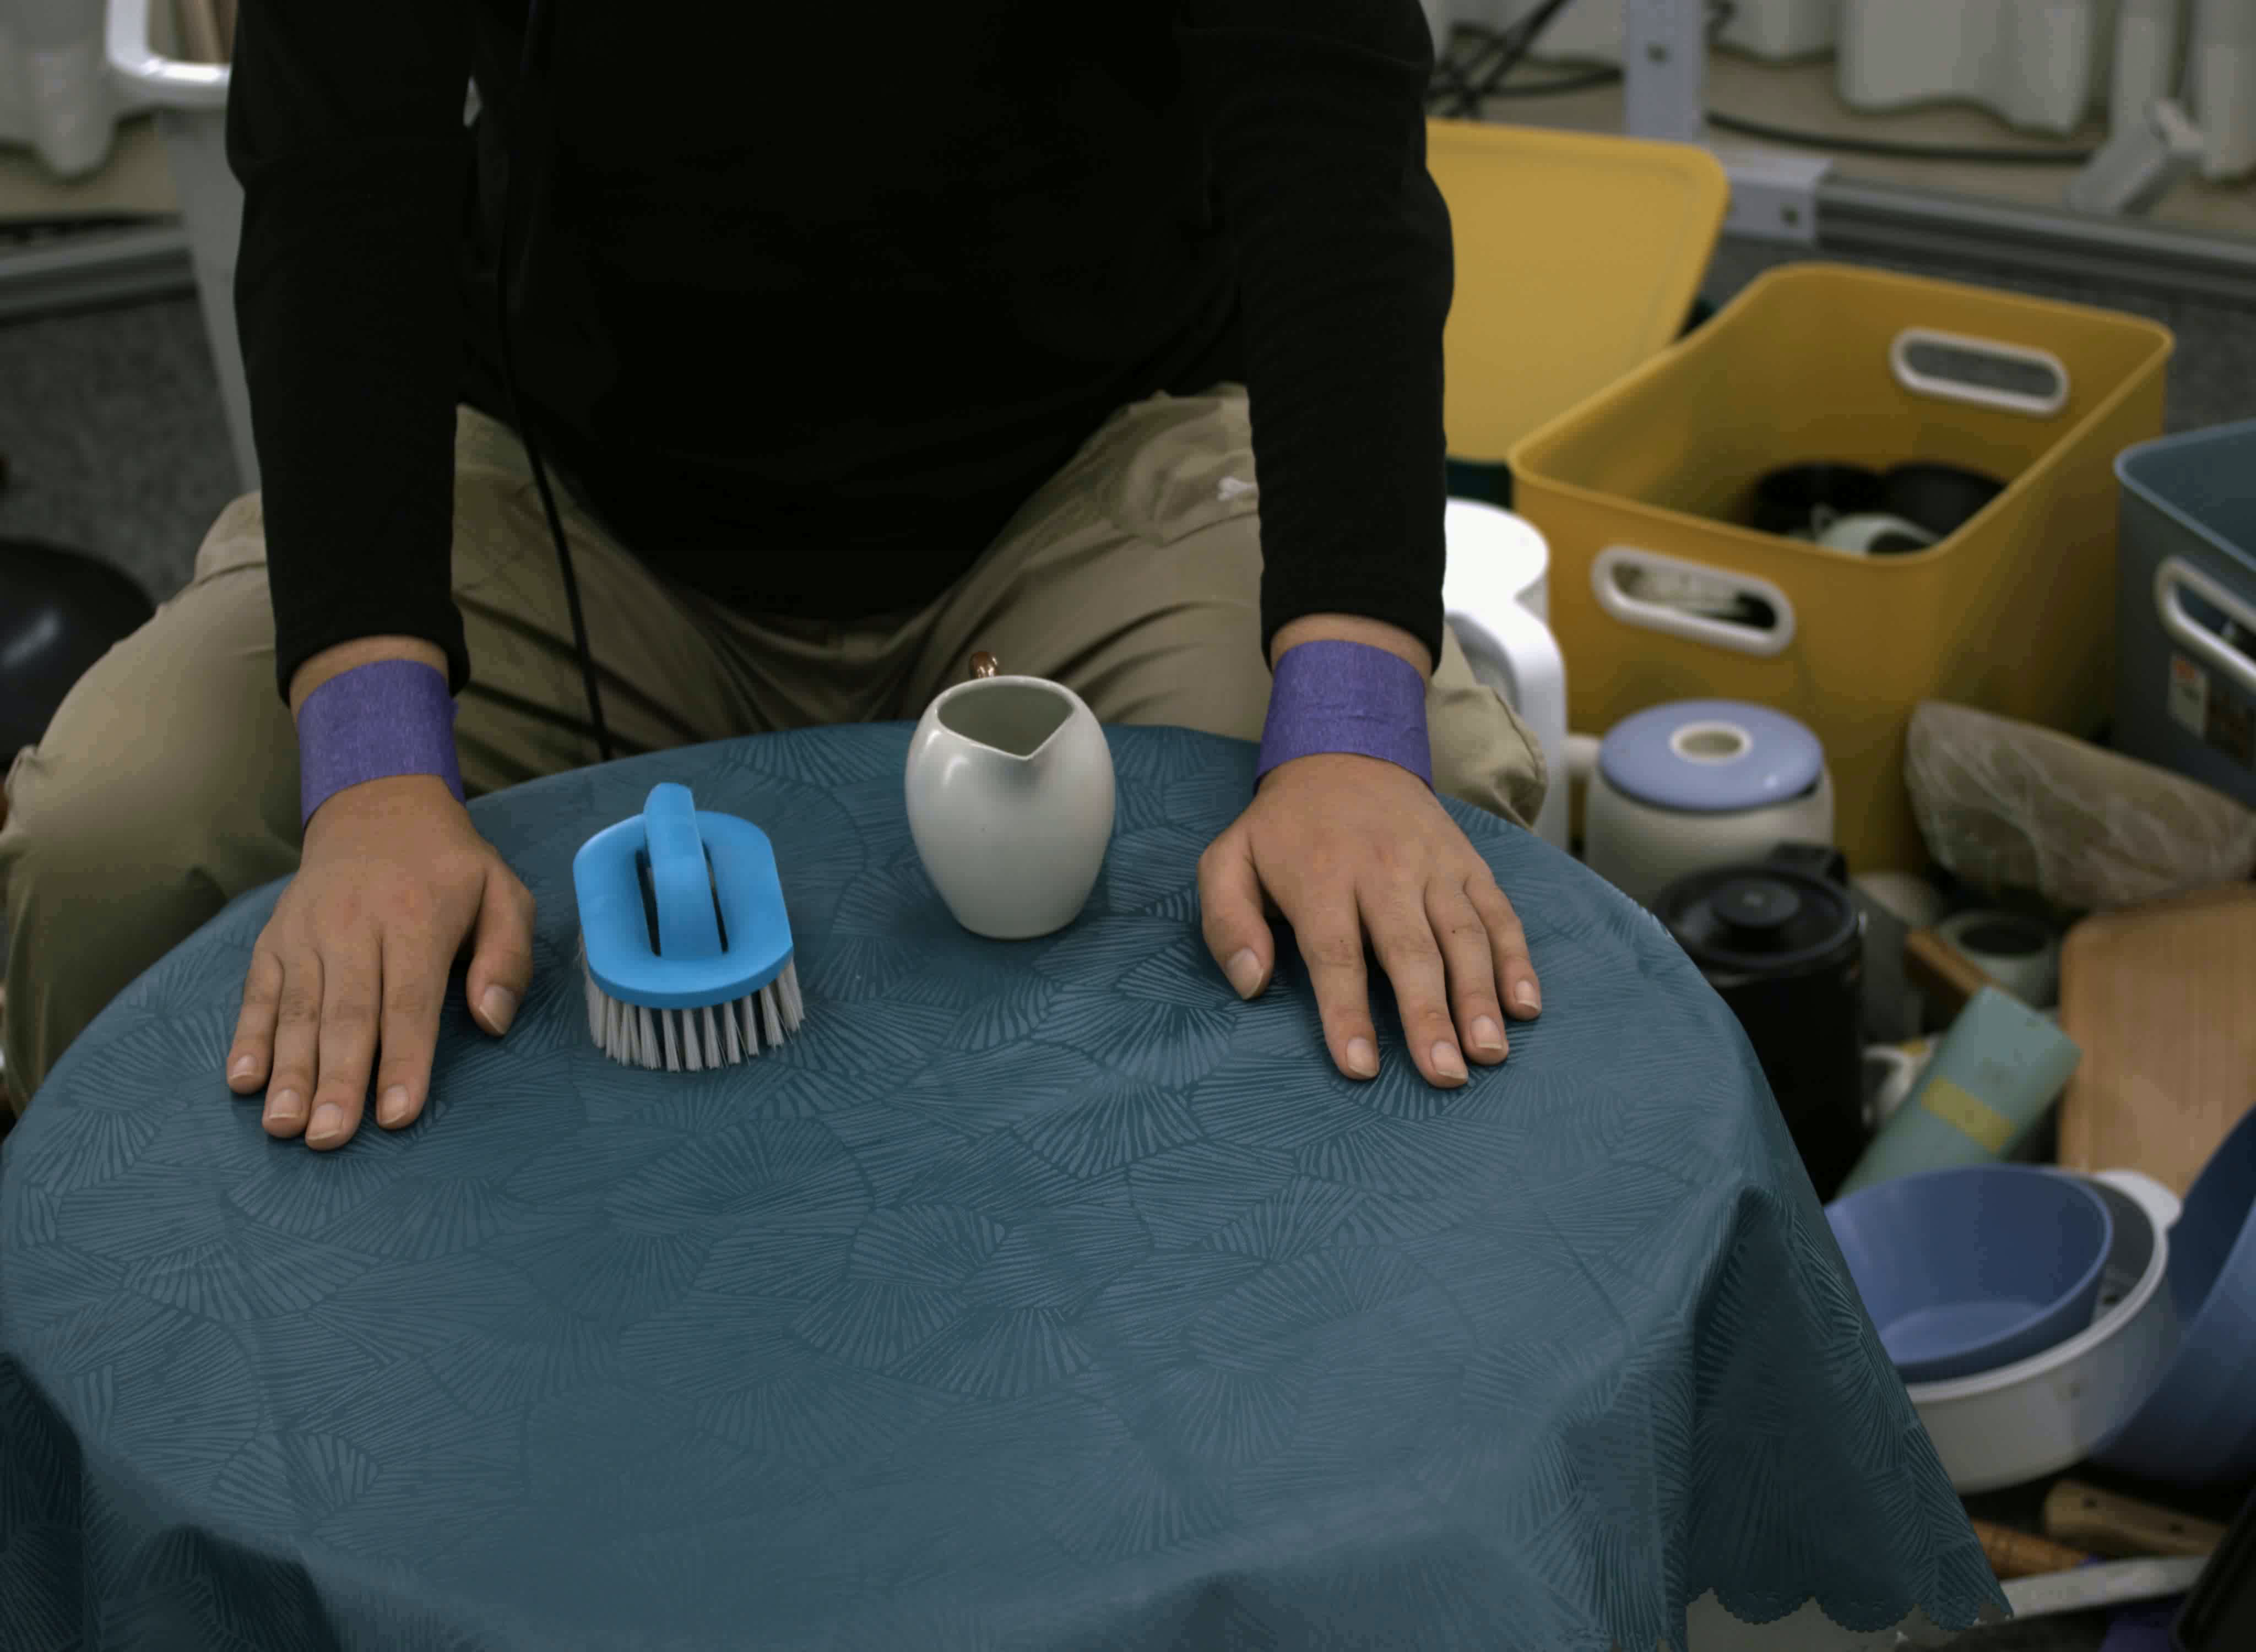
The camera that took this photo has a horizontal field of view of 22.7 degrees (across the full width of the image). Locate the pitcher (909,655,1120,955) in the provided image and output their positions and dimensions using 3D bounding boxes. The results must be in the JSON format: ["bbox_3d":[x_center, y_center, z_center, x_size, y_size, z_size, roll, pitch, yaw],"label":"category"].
[{"bbox_3d":[-0.042,-0.006,2.019,0.075,0.087,0.121,0,30,-7],"label":"pitcher"}]

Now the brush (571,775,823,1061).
[{"bbox_3d":[-0.157,0.024,1.994,0.084,0.063,0.143,-10,27,-4],"label":"brush"}]
